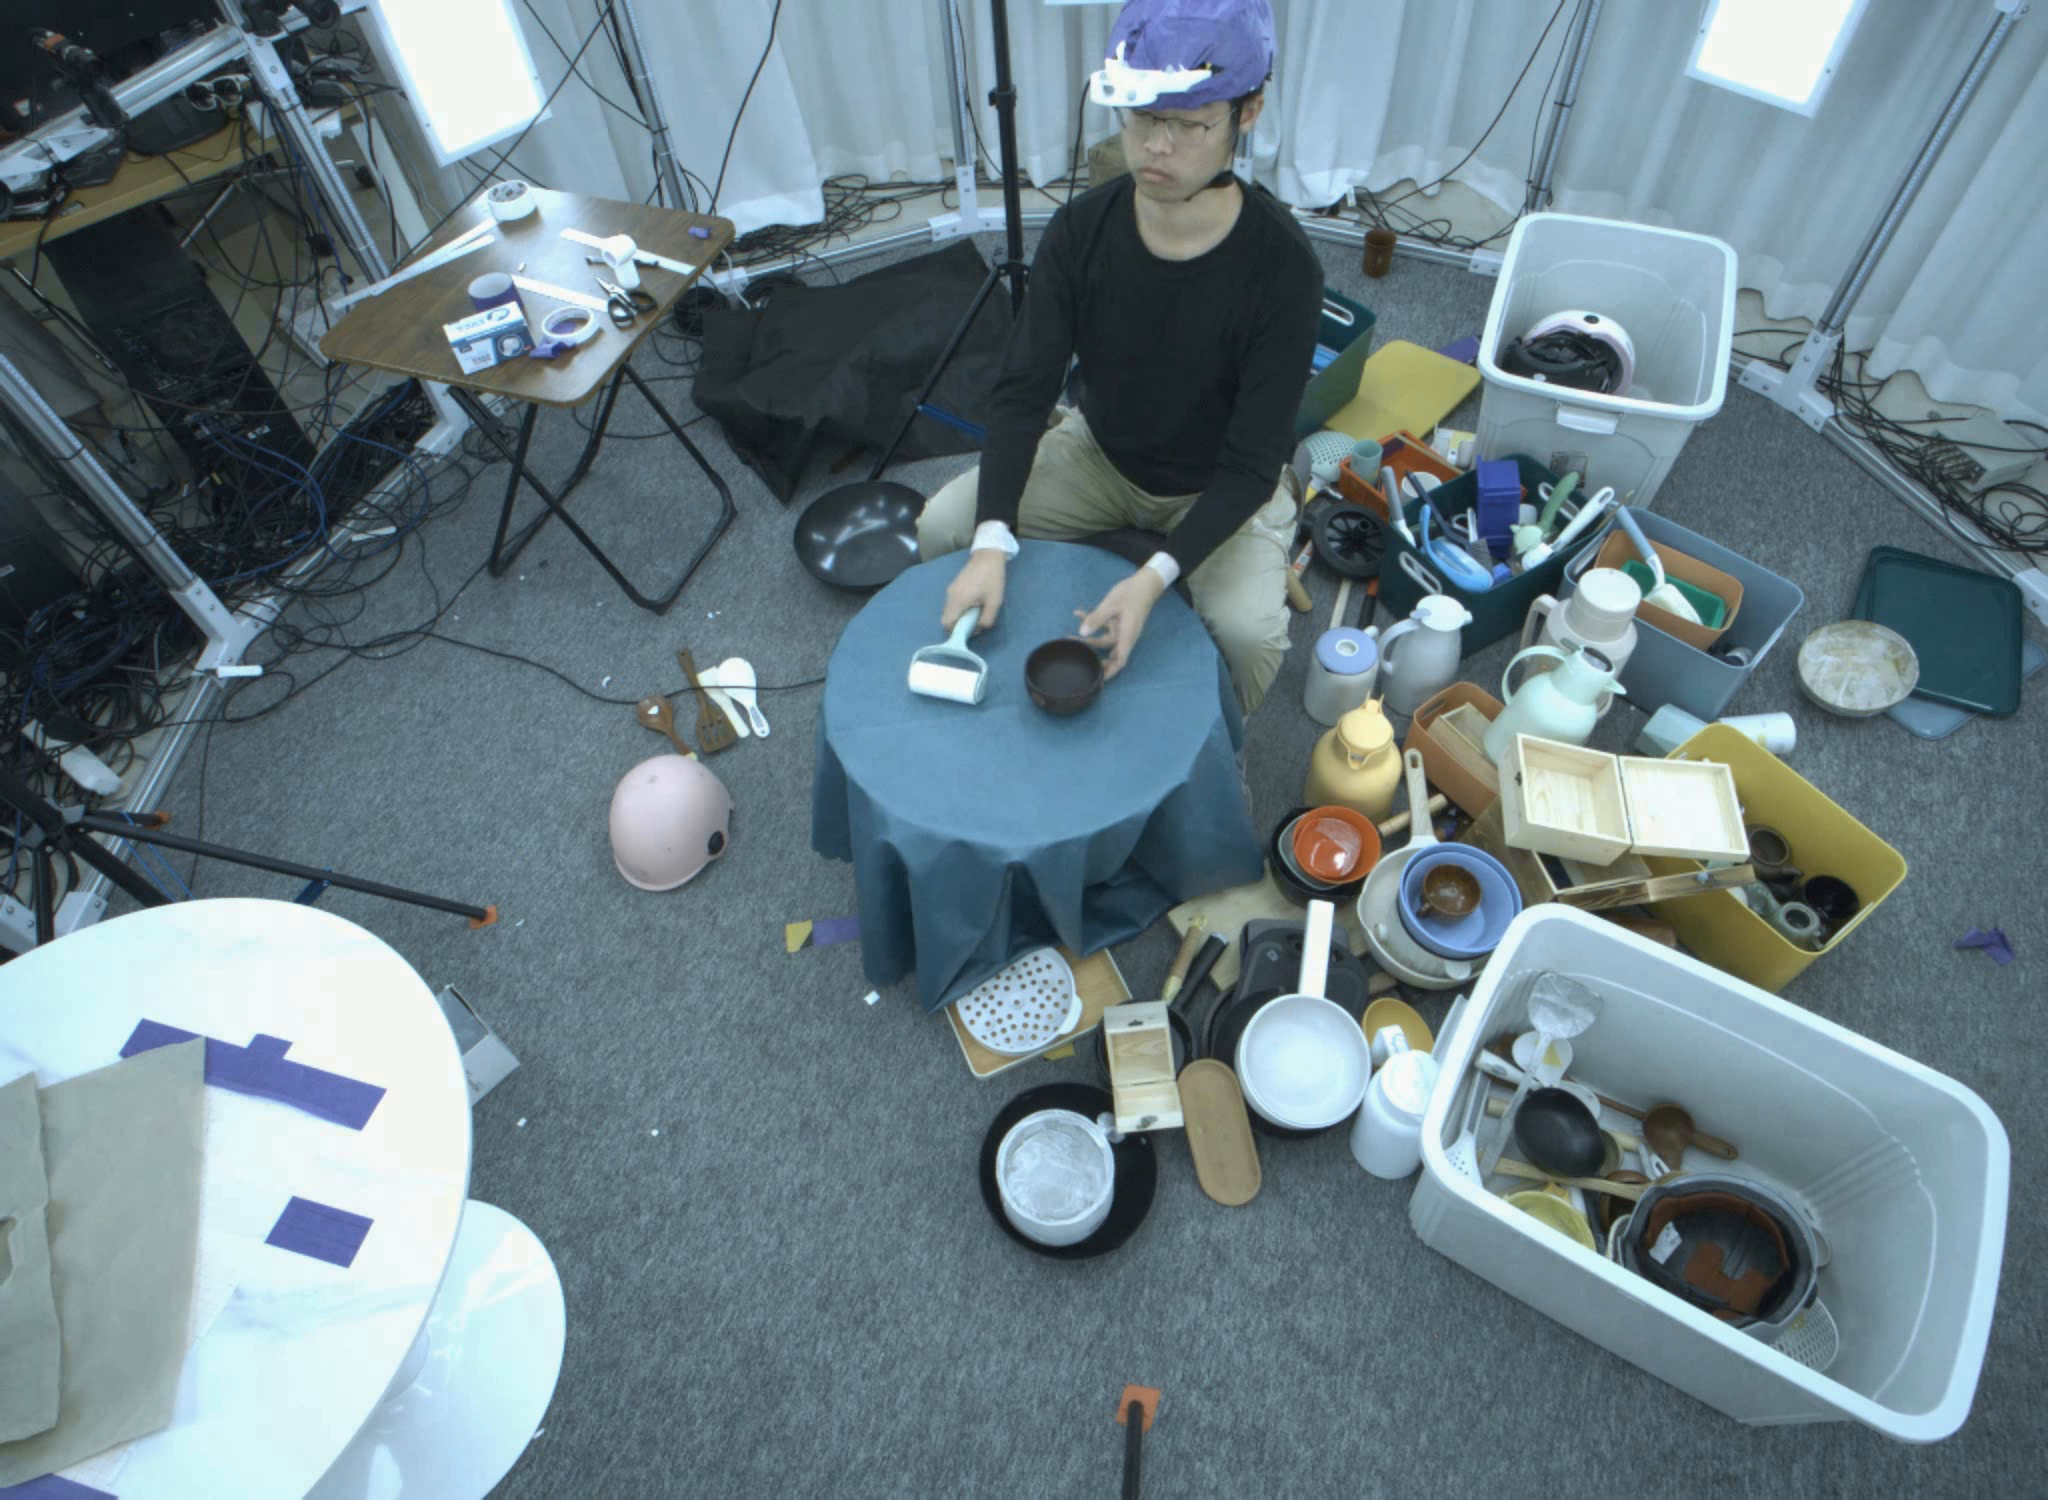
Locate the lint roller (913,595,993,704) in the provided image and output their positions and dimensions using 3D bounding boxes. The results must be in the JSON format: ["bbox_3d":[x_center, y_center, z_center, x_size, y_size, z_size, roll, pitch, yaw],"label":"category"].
[{"bbox_3d":[-0.088,-0.162,1.862,0.115,0.049,0.197,12,64,11],"label":"lint roller"}]

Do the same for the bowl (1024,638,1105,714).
[{"bbox_3d":[0.060,-0.101,1.813,0.118,0.070,0.117,-1,53,3],"label":"bowl"}]
